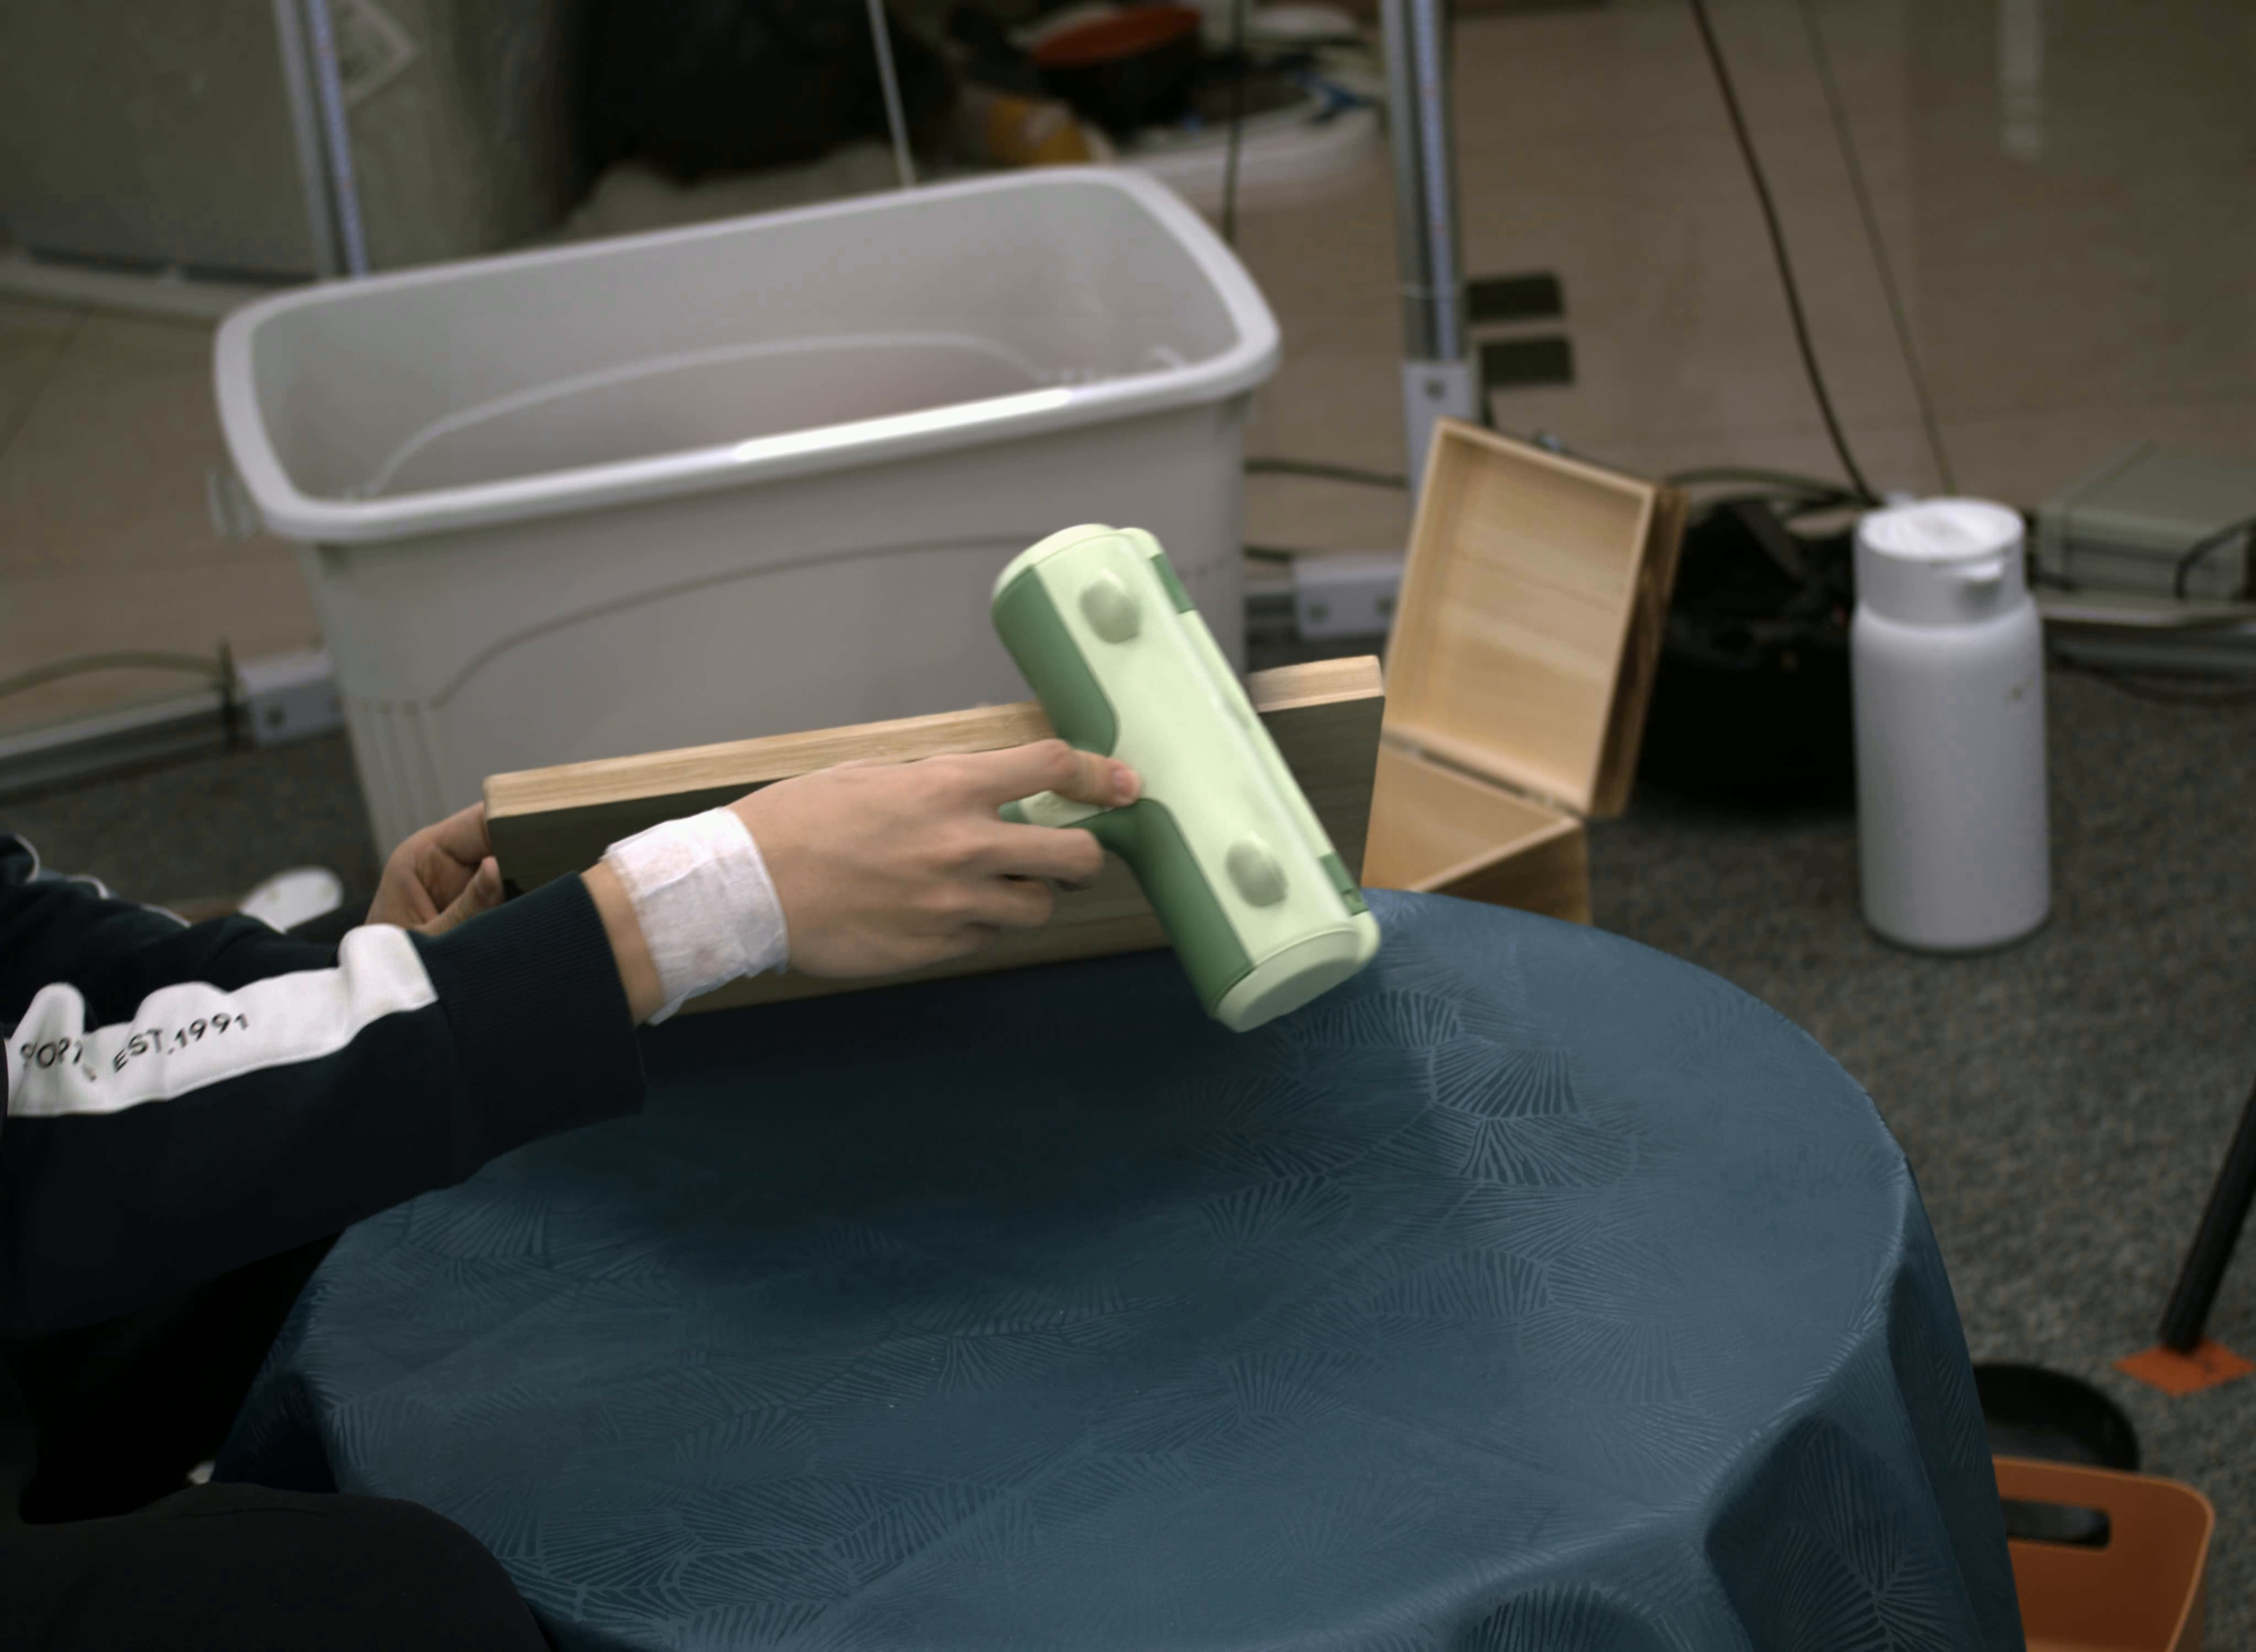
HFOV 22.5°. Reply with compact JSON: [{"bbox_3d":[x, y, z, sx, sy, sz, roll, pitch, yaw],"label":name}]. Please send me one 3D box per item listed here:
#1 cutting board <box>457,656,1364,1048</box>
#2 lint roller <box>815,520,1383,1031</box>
[{"bbox_3d":[-0.078,0.013,2.216,0.348,0.254,0.023,-8,68,-4],"label":"cutting board"},{"bbox_3d":[-0.025,-0.010,2.038,0.182,0.083,0.197,-18,69,-29],"label":"lint roller"}]
